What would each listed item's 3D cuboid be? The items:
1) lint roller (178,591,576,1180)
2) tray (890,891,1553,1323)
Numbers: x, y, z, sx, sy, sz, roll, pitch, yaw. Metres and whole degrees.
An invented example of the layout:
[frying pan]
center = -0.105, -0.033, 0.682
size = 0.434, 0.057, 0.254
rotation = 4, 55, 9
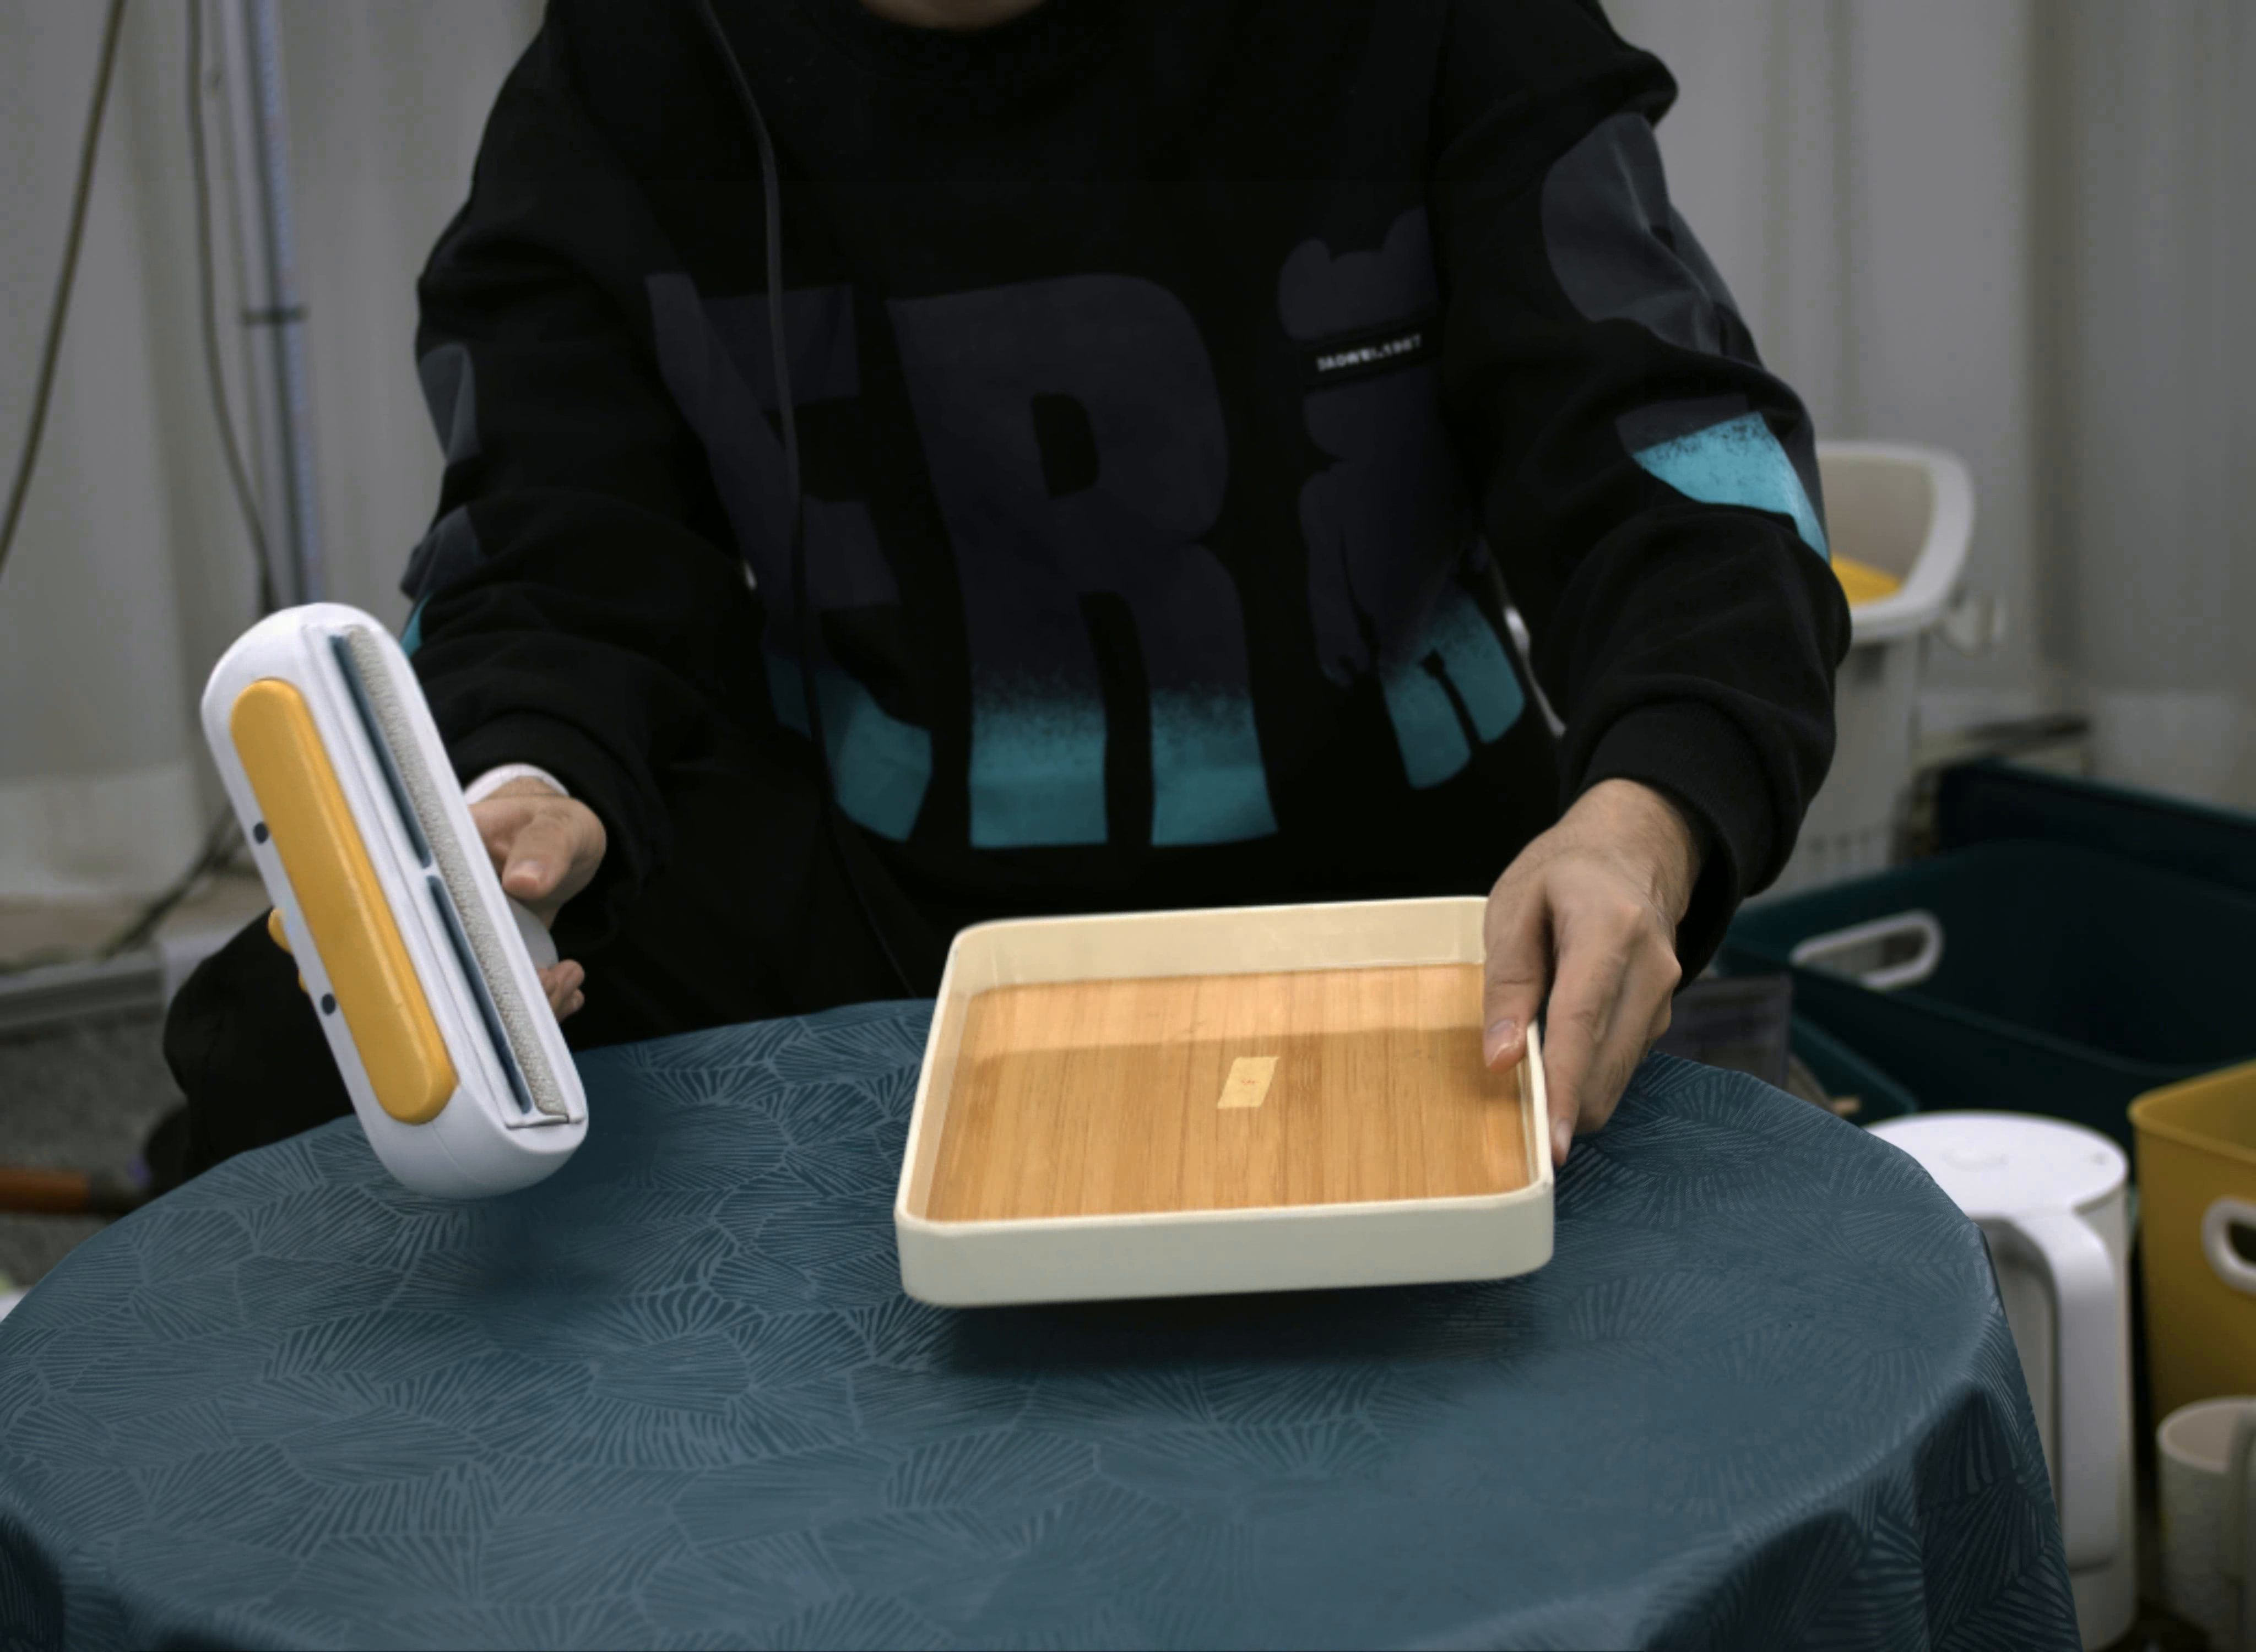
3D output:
[lint roller]
center = -0.214, 0.030, 1.728
size = 0.074, 0.195, 0.191
rotation = -33, -19, 15
[tray]
center = 0.031, 0.082, 1.688
size = 0.191, 0.027, 0.302
rotation = -5, 16, 4
